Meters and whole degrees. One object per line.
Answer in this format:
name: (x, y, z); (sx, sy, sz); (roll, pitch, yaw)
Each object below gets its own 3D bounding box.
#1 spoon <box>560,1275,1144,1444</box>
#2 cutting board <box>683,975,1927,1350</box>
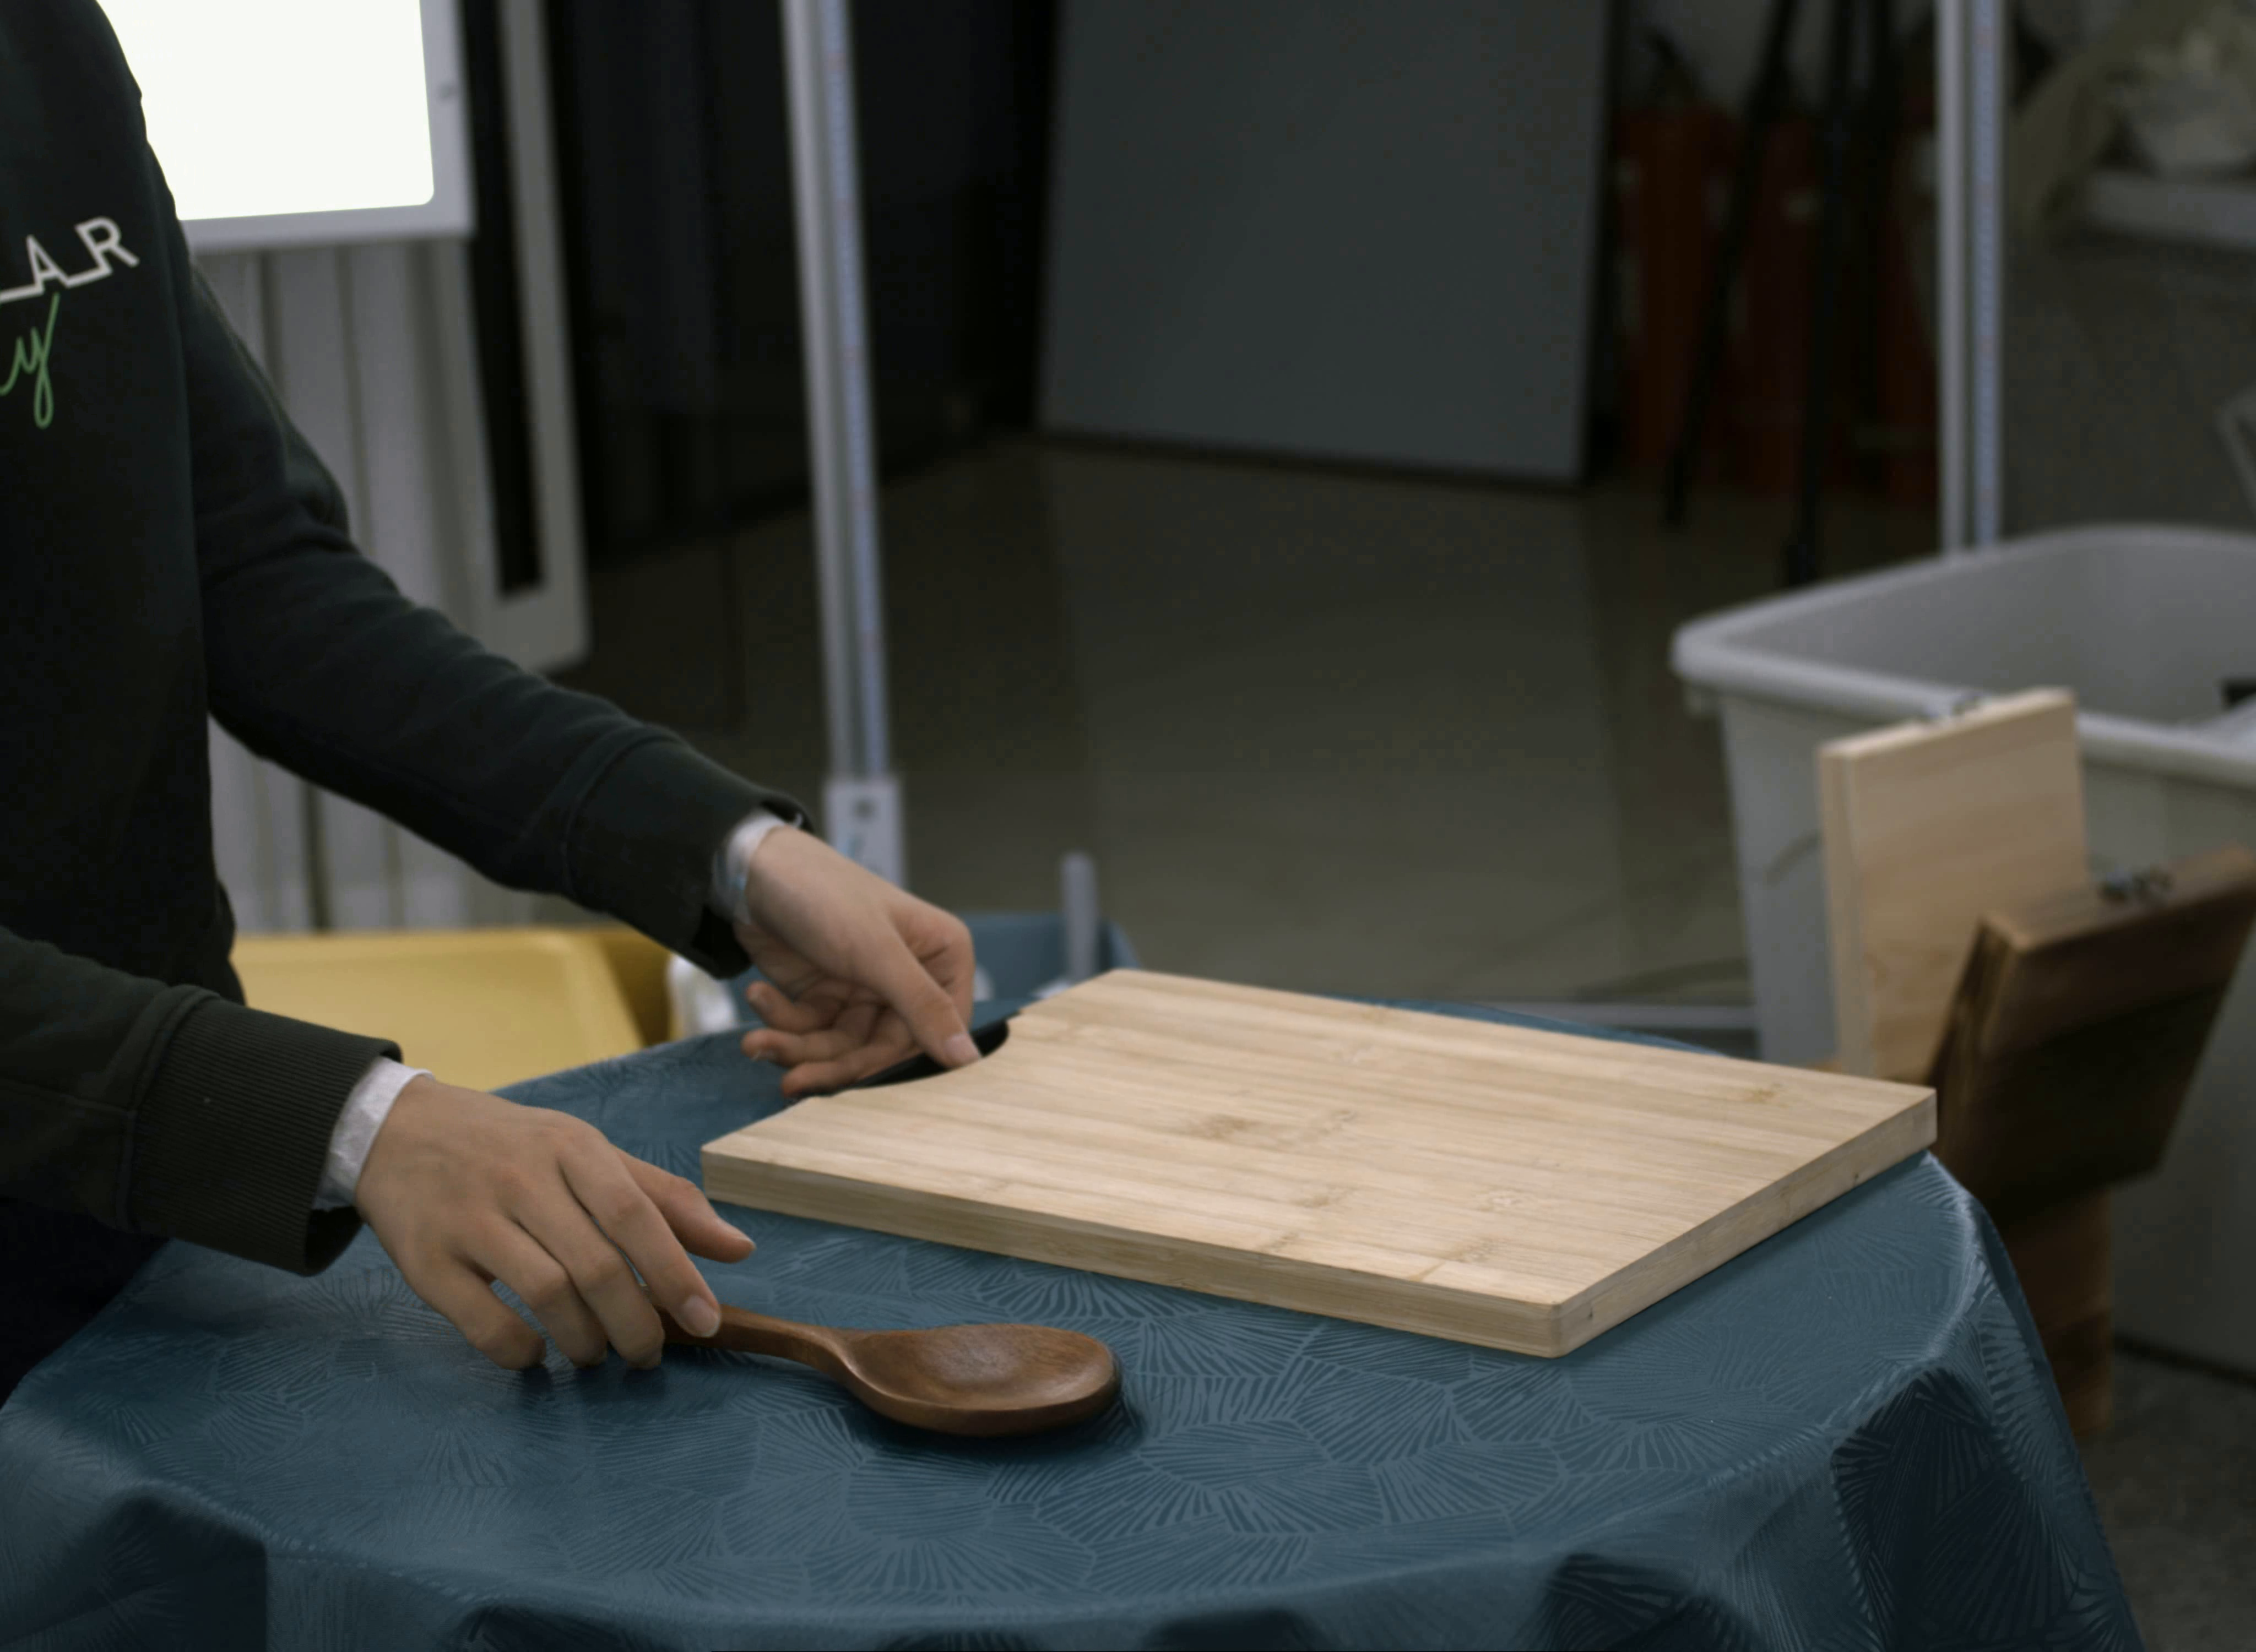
spoon: (-0.087, 0.158, 1.612); (0.217, 0.017, 0.074); (8, 19, 38)
cutting board: (0.057, 0.106, 1.783); (0.351, 0.024, 0.246); (6, 17, 36)
